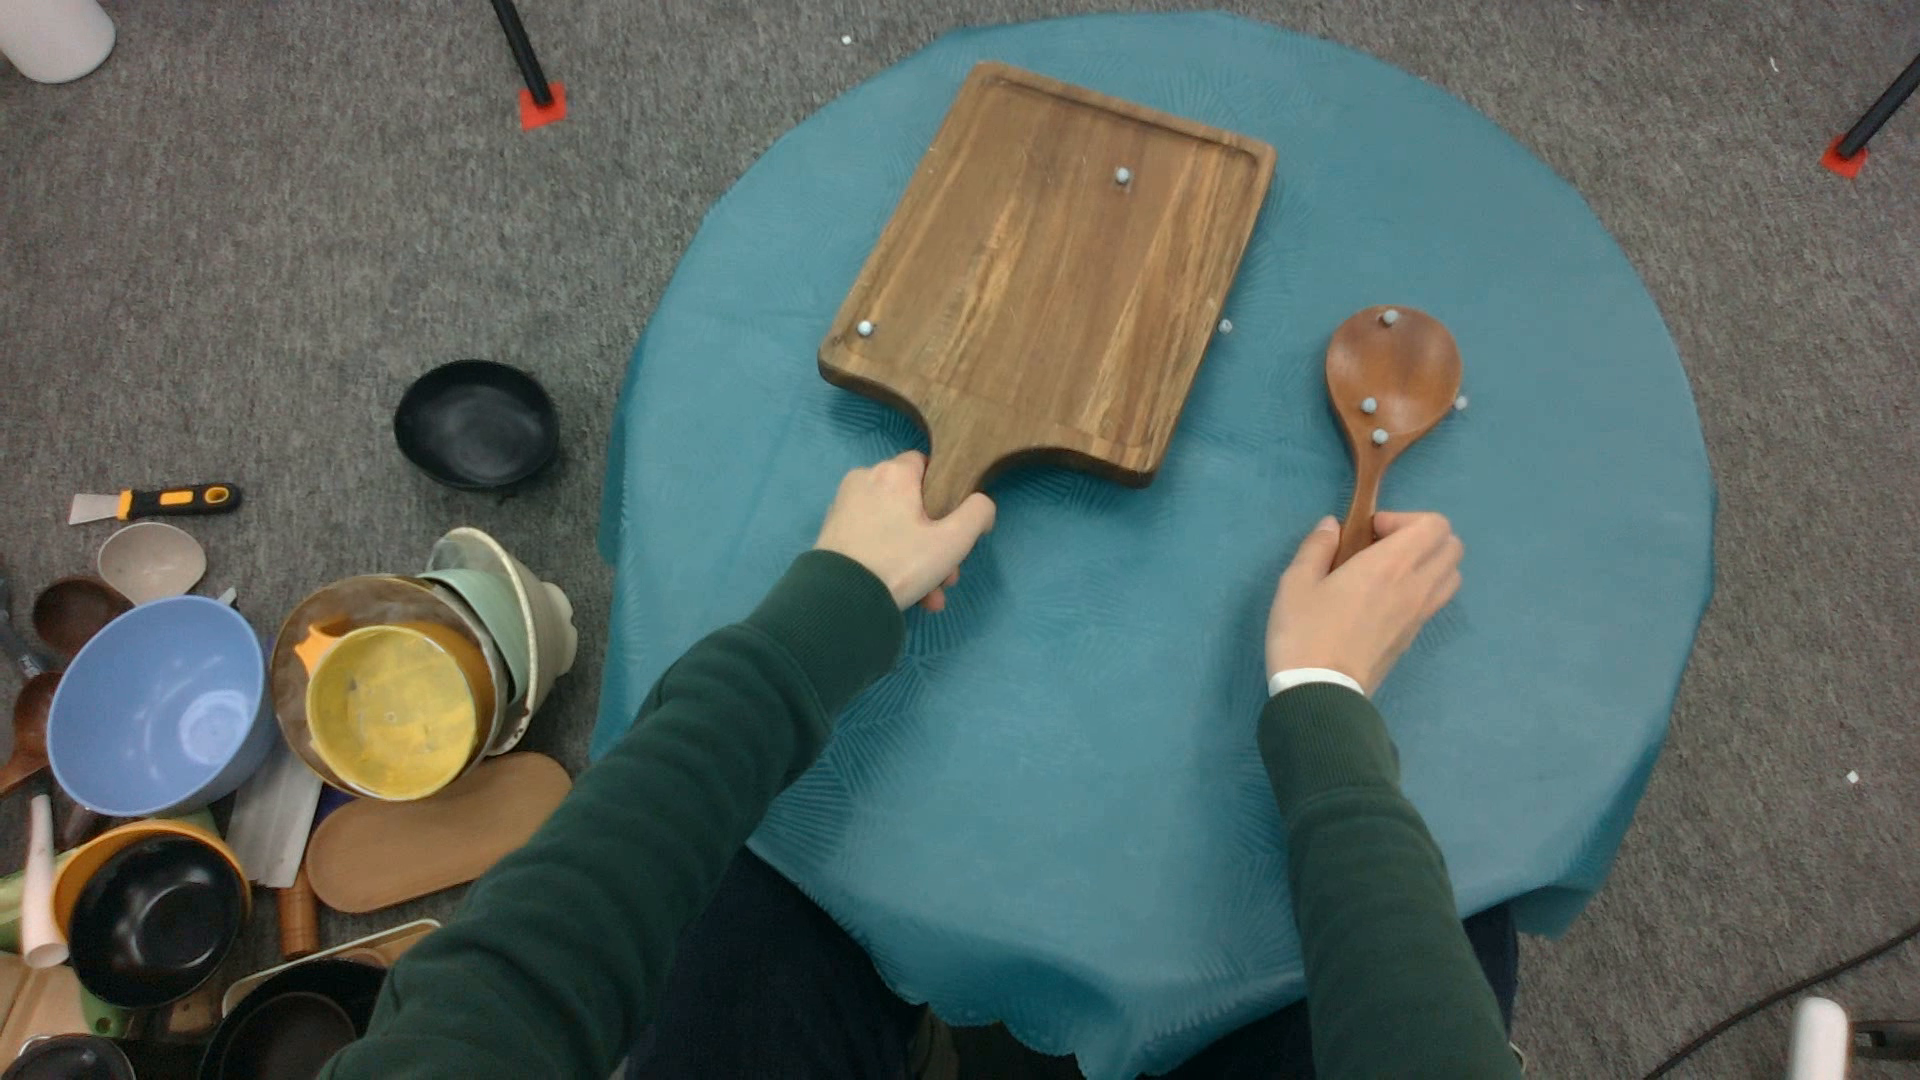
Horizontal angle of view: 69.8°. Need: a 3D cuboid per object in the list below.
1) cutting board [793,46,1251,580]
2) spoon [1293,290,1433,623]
[{"bbox_3d":[0.025,-0.130,0.767,0.201,0.023,0.353,20,63,7],"label":"cutting board"},{"bbox_3d":[0.208,-0.050,0.741,0.075,0.017,0.217,17,61,5],"label":"spoon"}]
